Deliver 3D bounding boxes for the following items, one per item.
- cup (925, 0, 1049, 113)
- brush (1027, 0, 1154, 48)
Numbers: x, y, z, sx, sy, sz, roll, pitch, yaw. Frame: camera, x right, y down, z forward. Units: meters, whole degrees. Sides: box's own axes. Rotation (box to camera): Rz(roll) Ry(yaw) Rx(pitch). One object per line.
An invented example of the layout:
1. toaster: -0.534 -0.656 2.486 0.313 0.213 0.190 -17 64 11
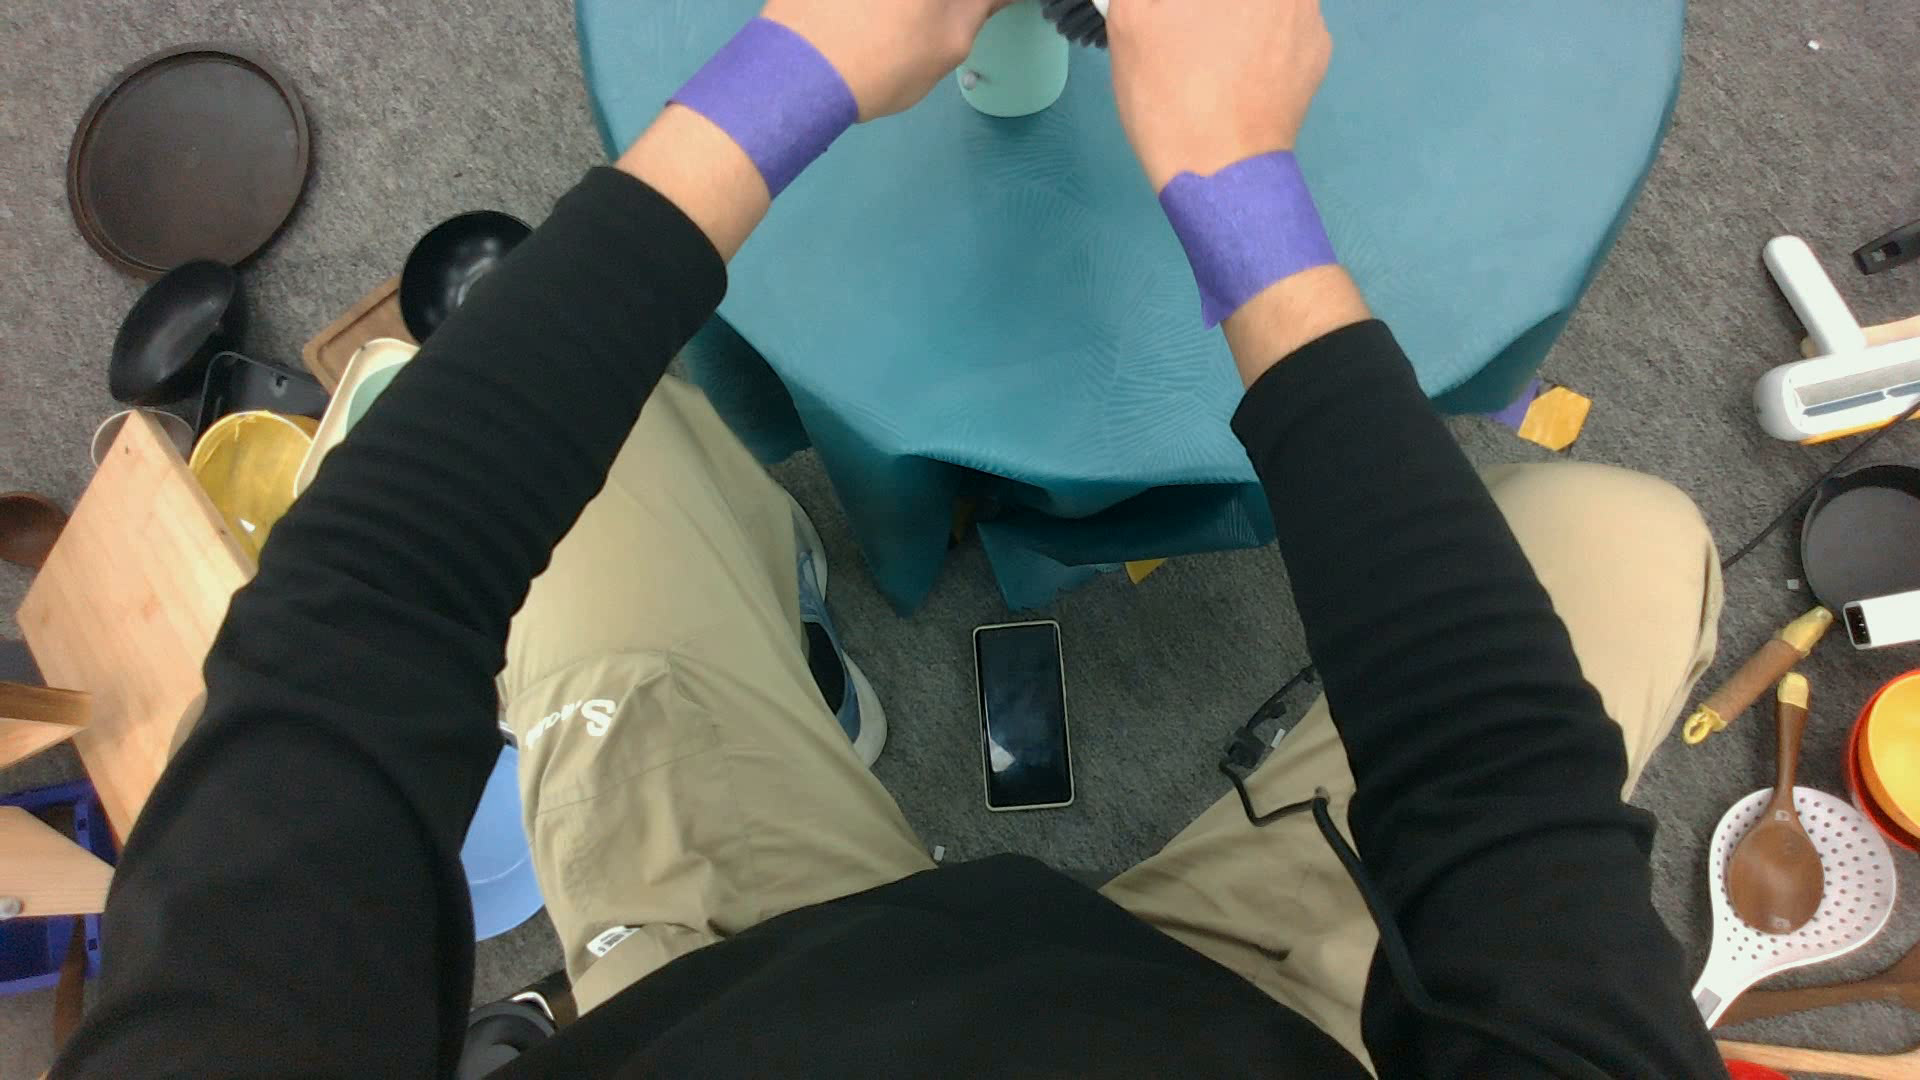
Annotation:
1. cup: 0.016 -0.271 0.686 0.067 0.132 0.067 0 82 3
2. brush: 0.066 -0.272 0.590 0.050 0.072 0.099 3 85 -38
